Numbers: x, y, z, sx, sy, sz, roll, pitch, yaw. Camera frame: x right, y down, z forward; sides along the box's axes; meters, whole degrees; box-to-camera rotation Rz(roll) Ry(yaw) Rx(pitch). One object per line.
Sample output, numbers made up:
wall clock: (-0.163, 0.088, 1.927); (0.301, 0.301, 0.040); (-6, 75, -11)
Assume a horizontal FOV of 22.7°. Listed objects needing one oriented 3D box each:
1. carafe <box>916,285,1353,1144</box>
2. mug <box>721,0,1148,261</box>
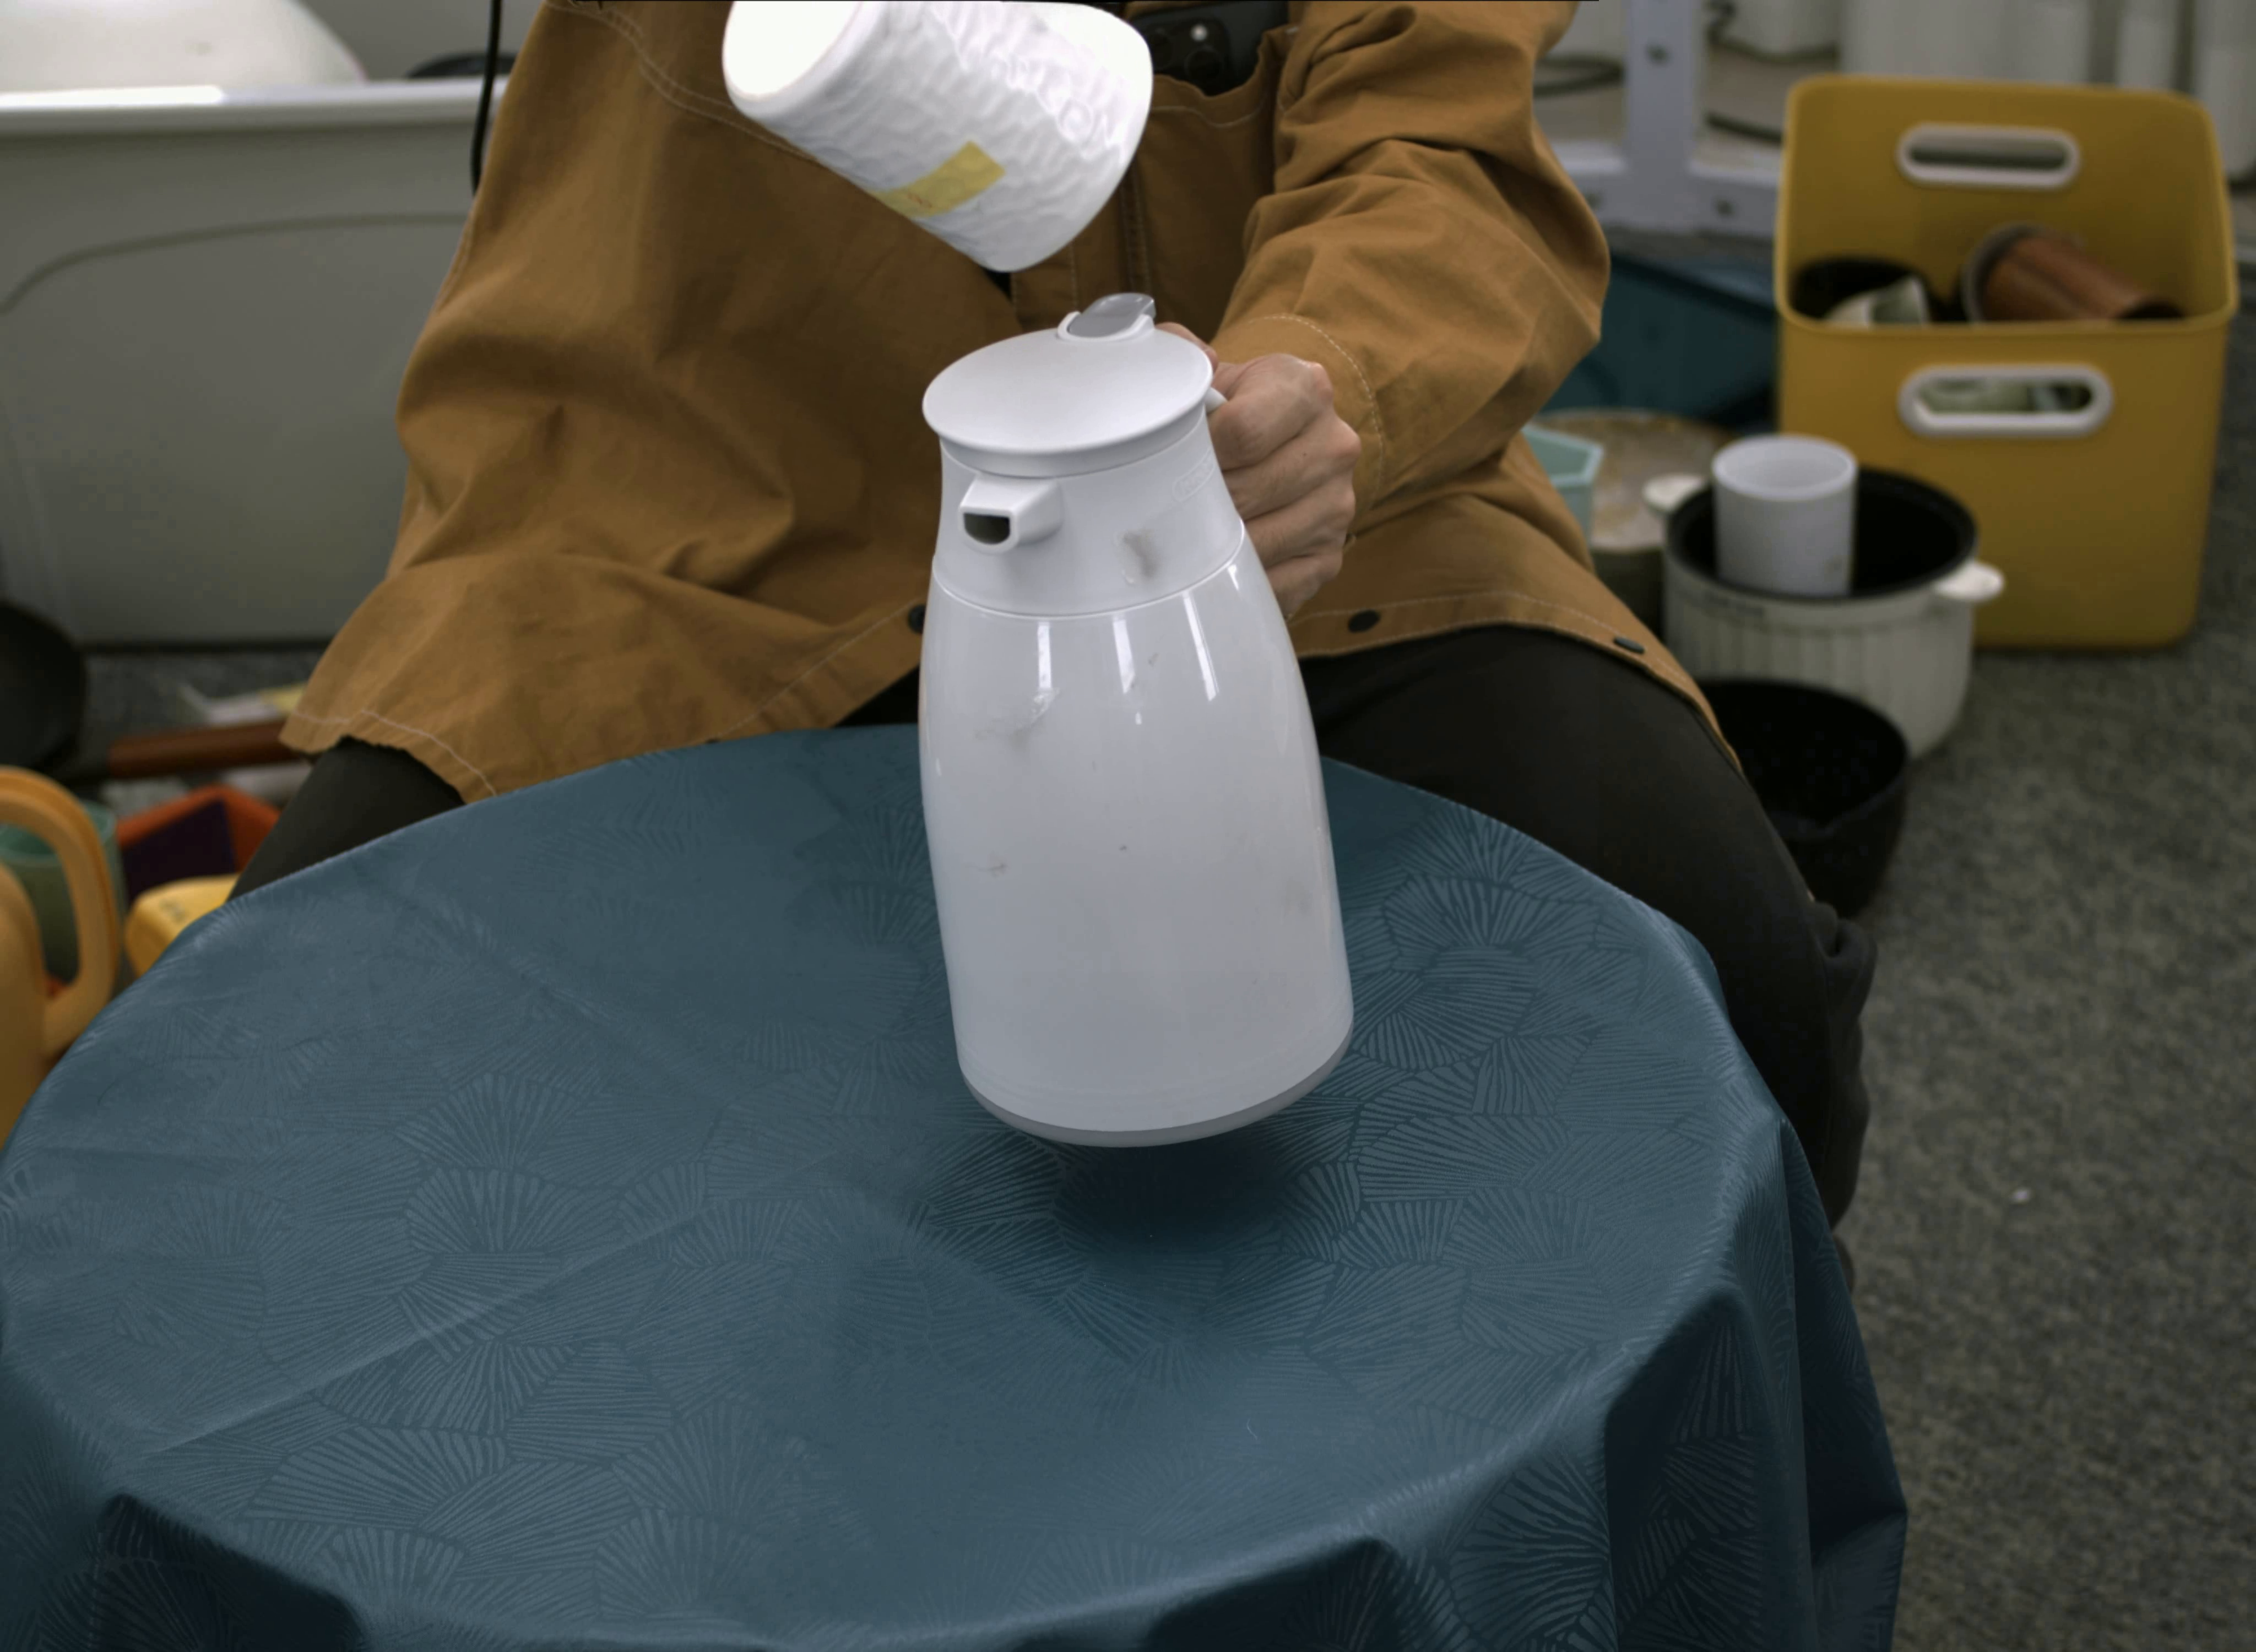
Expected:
carafe: (0.001, -0.047, 1.819); (0.131, 0.246, 0.170); (4, 29, 24)
mug: (-0.060, -0.242, 1.698); (0.101, 0.084, 0.120); (30, 34, -34)
